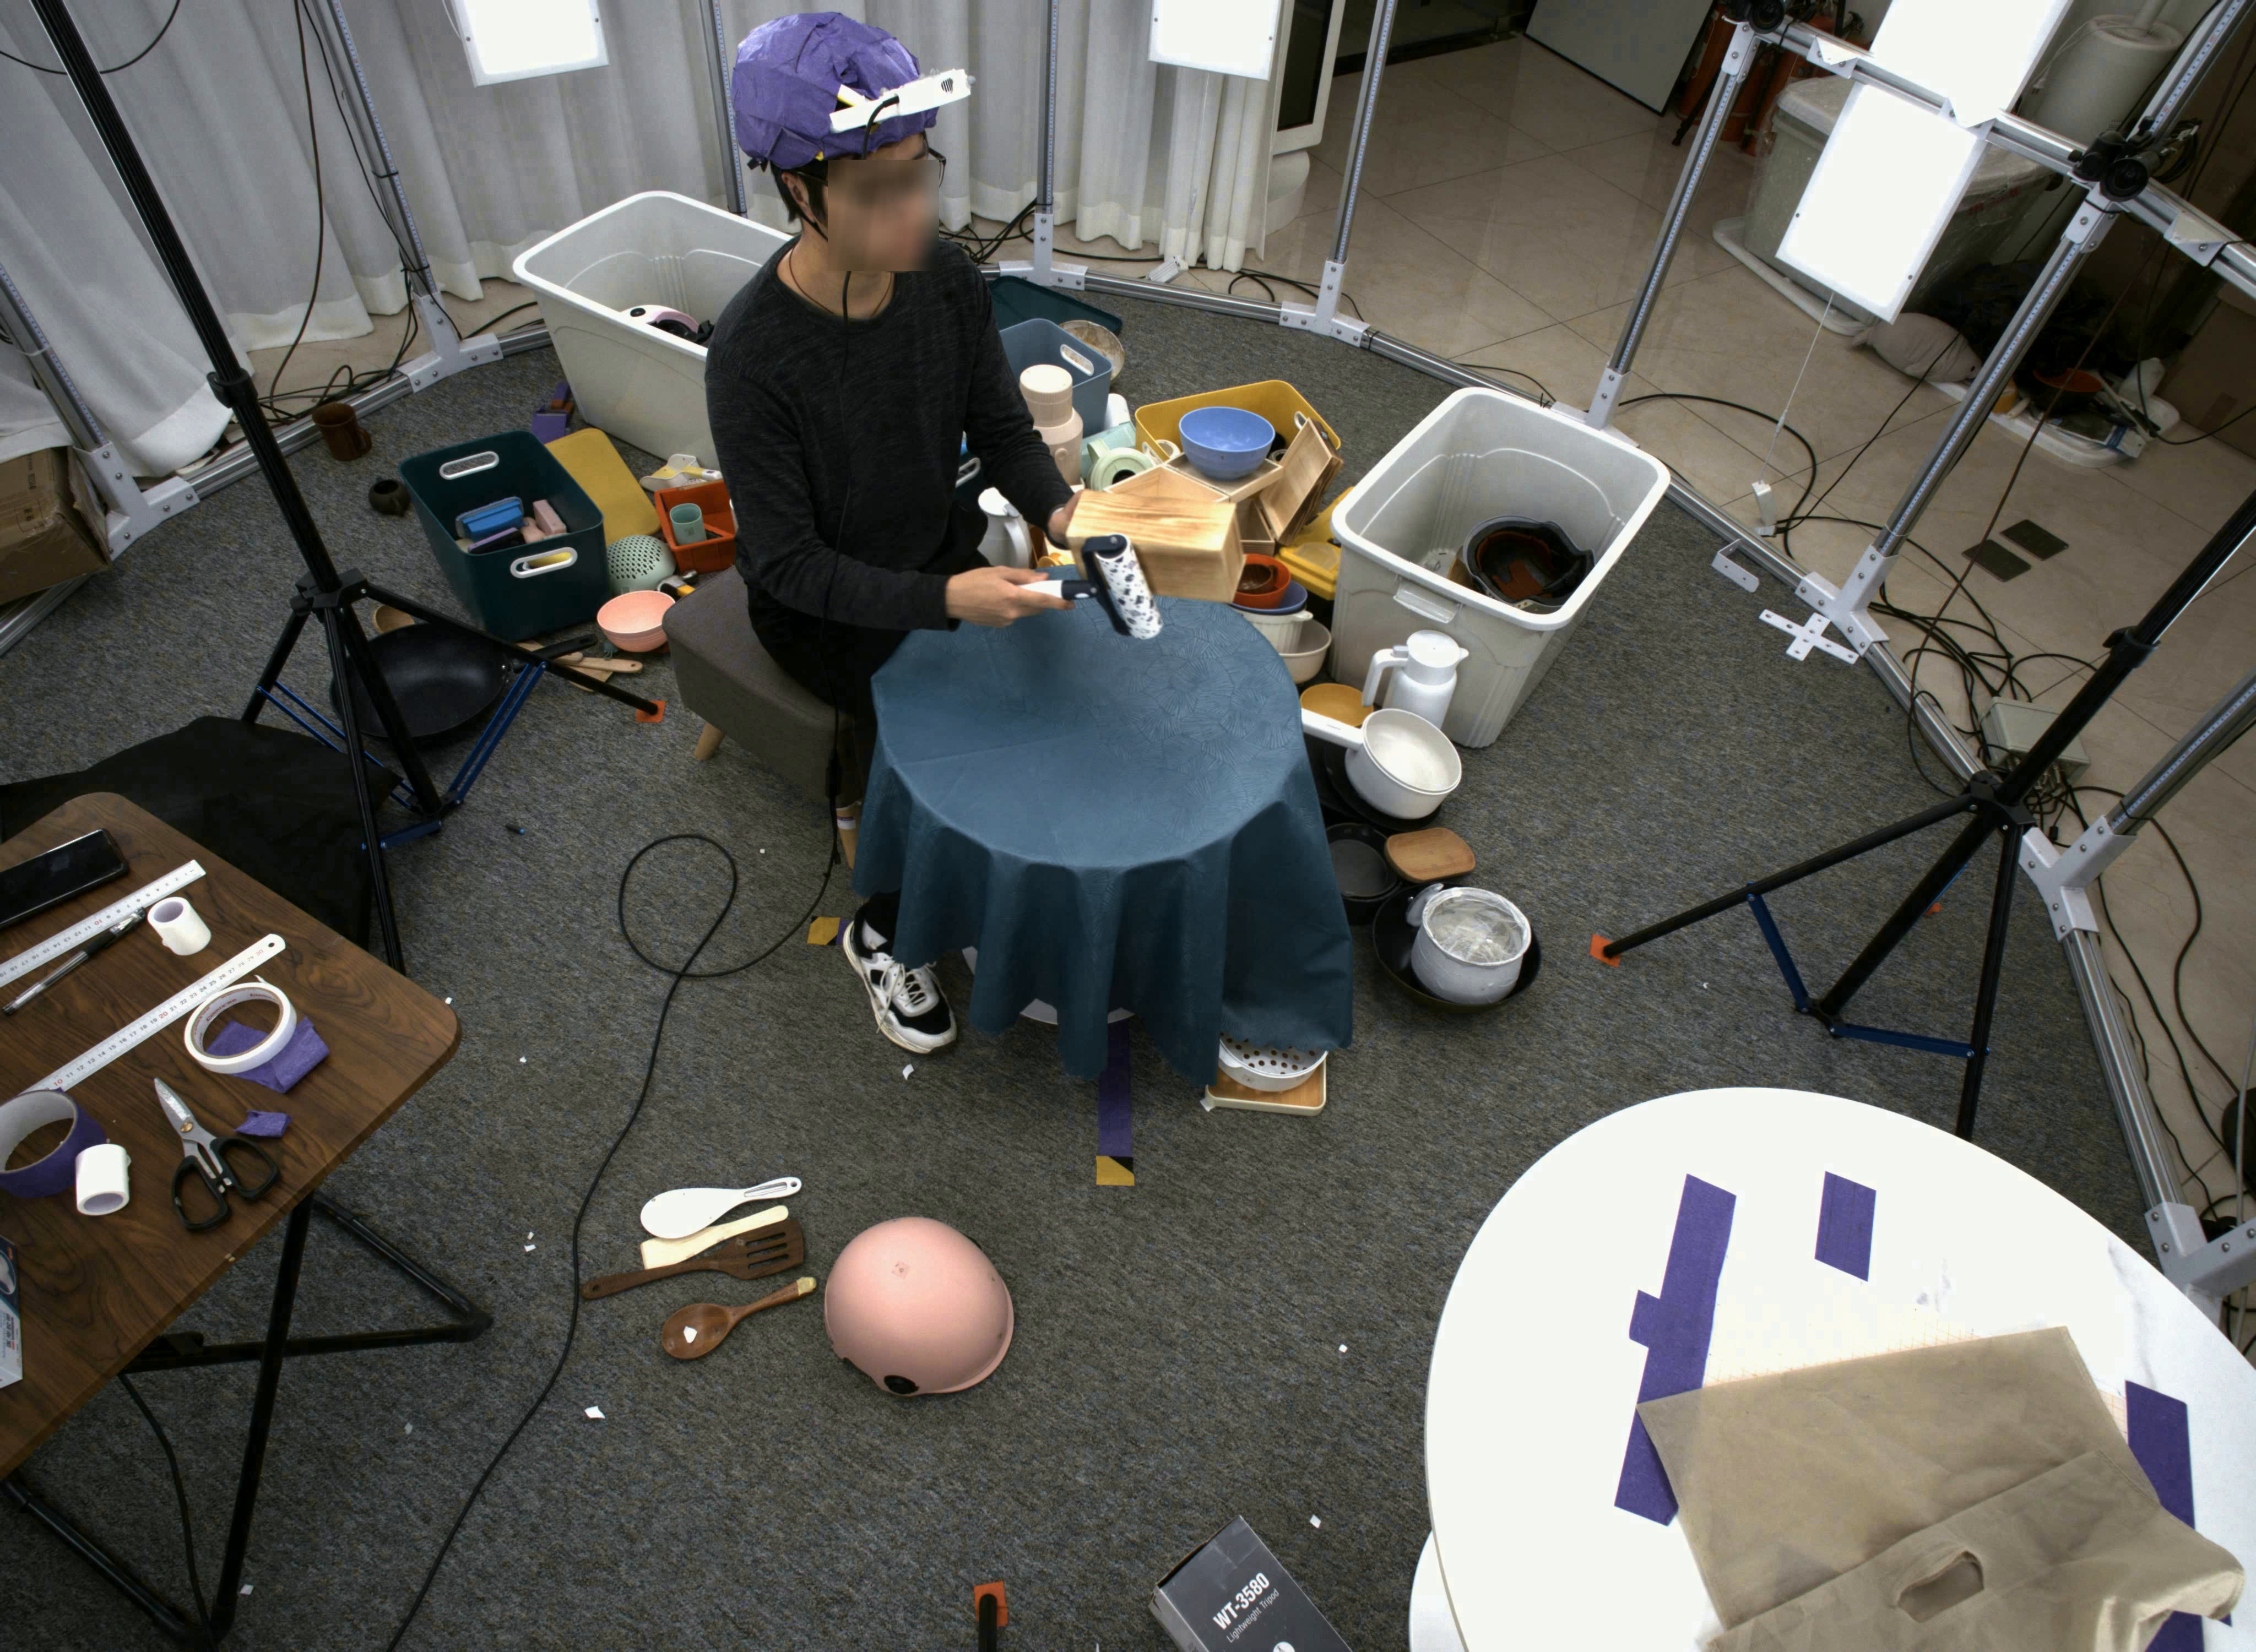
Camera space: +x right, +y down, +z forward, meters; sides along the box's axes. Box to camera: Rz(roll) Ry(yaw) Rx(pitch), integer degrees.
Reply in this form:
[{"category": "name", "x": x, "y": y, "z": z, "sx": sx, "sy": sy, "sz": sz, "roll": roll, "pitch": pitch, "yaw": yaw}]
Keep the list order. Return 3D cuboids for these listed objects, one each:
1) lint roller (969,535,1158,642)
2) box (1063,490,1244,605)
[{"category": "lint roller", "x": -0.096, "y": -0.304, "z": 1.708, "sx": 0.247, "sy": 0.172, "sz": 0.051, "roll": -3, "pitch": 57, "yaw": 18}, {"category": "box", "x": 0.035, "y": -0.365, "z": 1.687, "sx": 0.212, "sy": 0.105, "sz": 0.081, "roll": 11, "pitch": 64, "yaw": 19}]
